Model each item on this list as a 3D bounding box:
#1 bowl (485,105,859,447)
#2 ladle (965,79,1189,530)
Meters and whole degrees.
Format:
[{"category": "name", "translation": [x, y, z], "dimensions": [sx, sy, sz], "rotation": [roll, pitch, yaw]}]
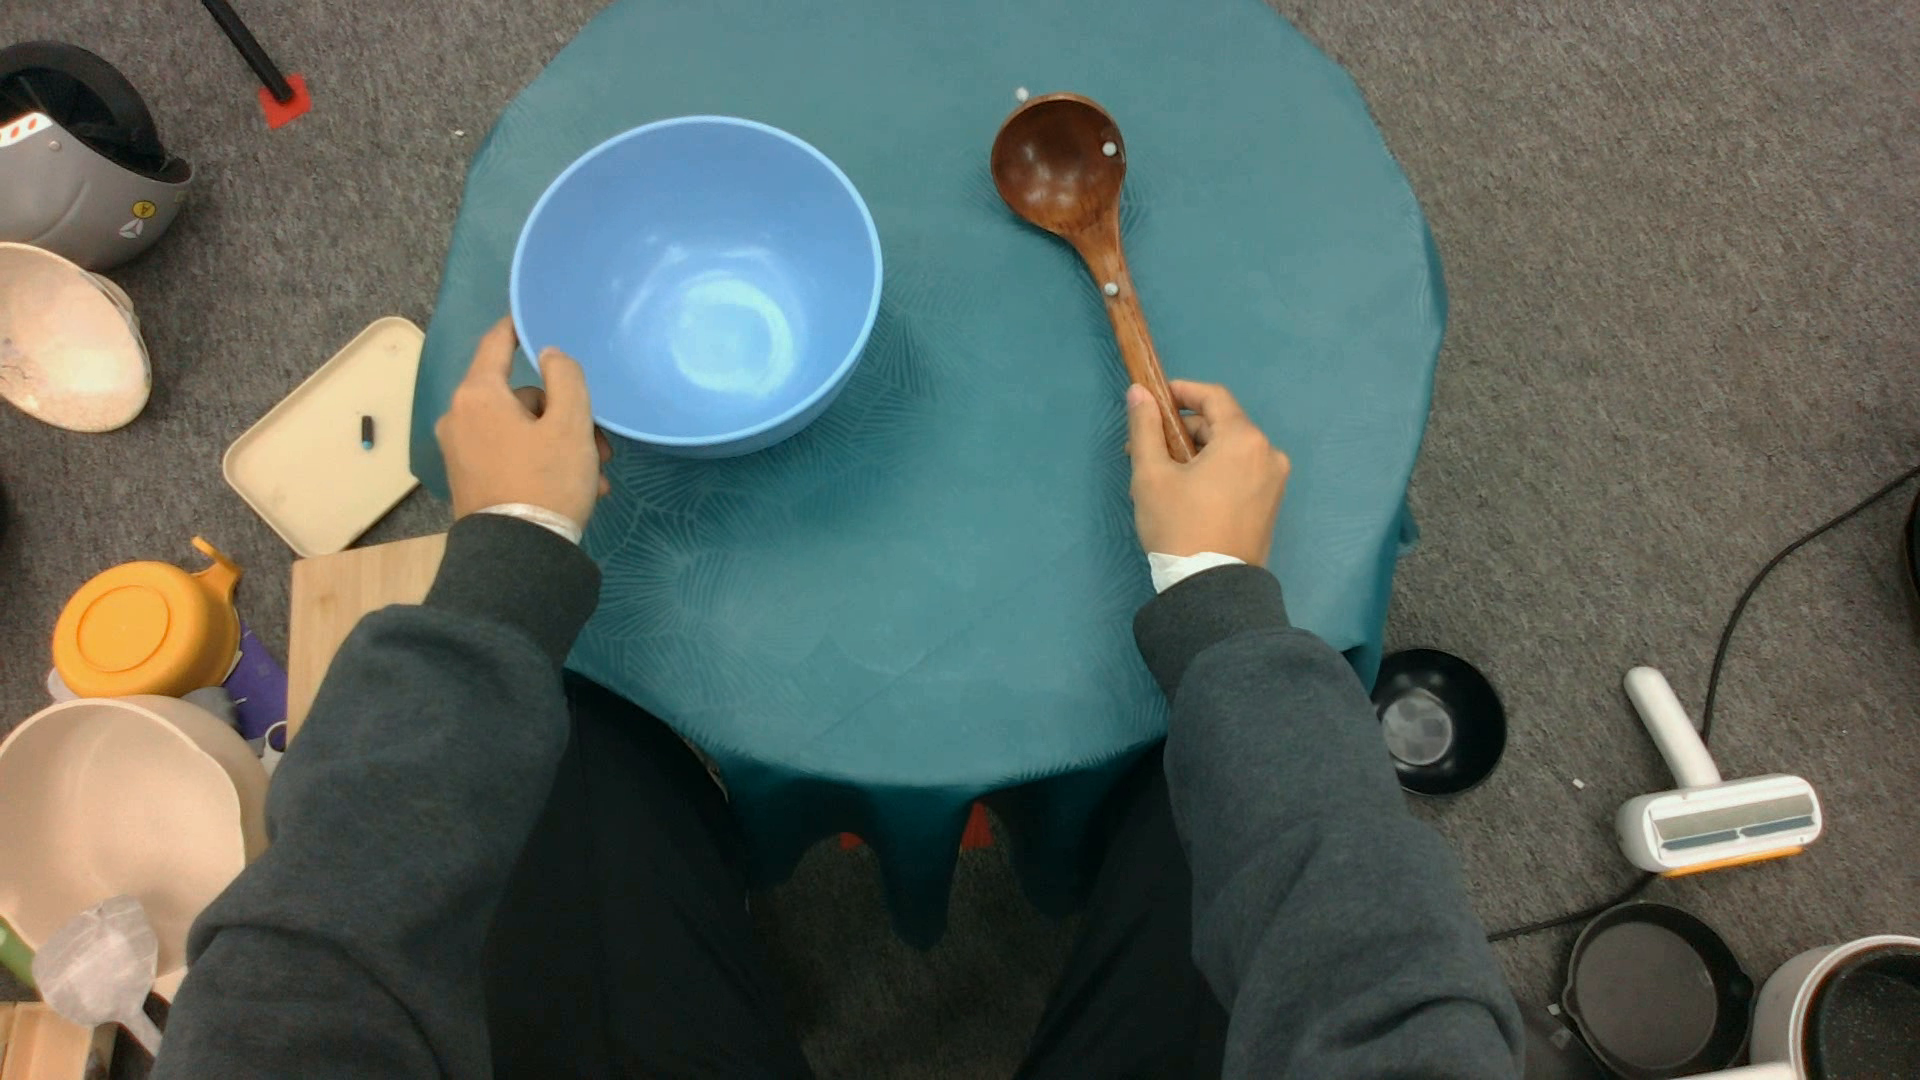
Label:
[{"category": "bowl", "translation": [-0.152, -0.133, 0.771], "dimensions": [0.196, 0.095, 0.197], "rotation": [0, 71, -1]}, {"category": "ladle", "translation": [0.070, -0.139, 0.779], "dimensions": [0.081, 0.076, 0.275], "rotation": [-26, 65, 27]}]
